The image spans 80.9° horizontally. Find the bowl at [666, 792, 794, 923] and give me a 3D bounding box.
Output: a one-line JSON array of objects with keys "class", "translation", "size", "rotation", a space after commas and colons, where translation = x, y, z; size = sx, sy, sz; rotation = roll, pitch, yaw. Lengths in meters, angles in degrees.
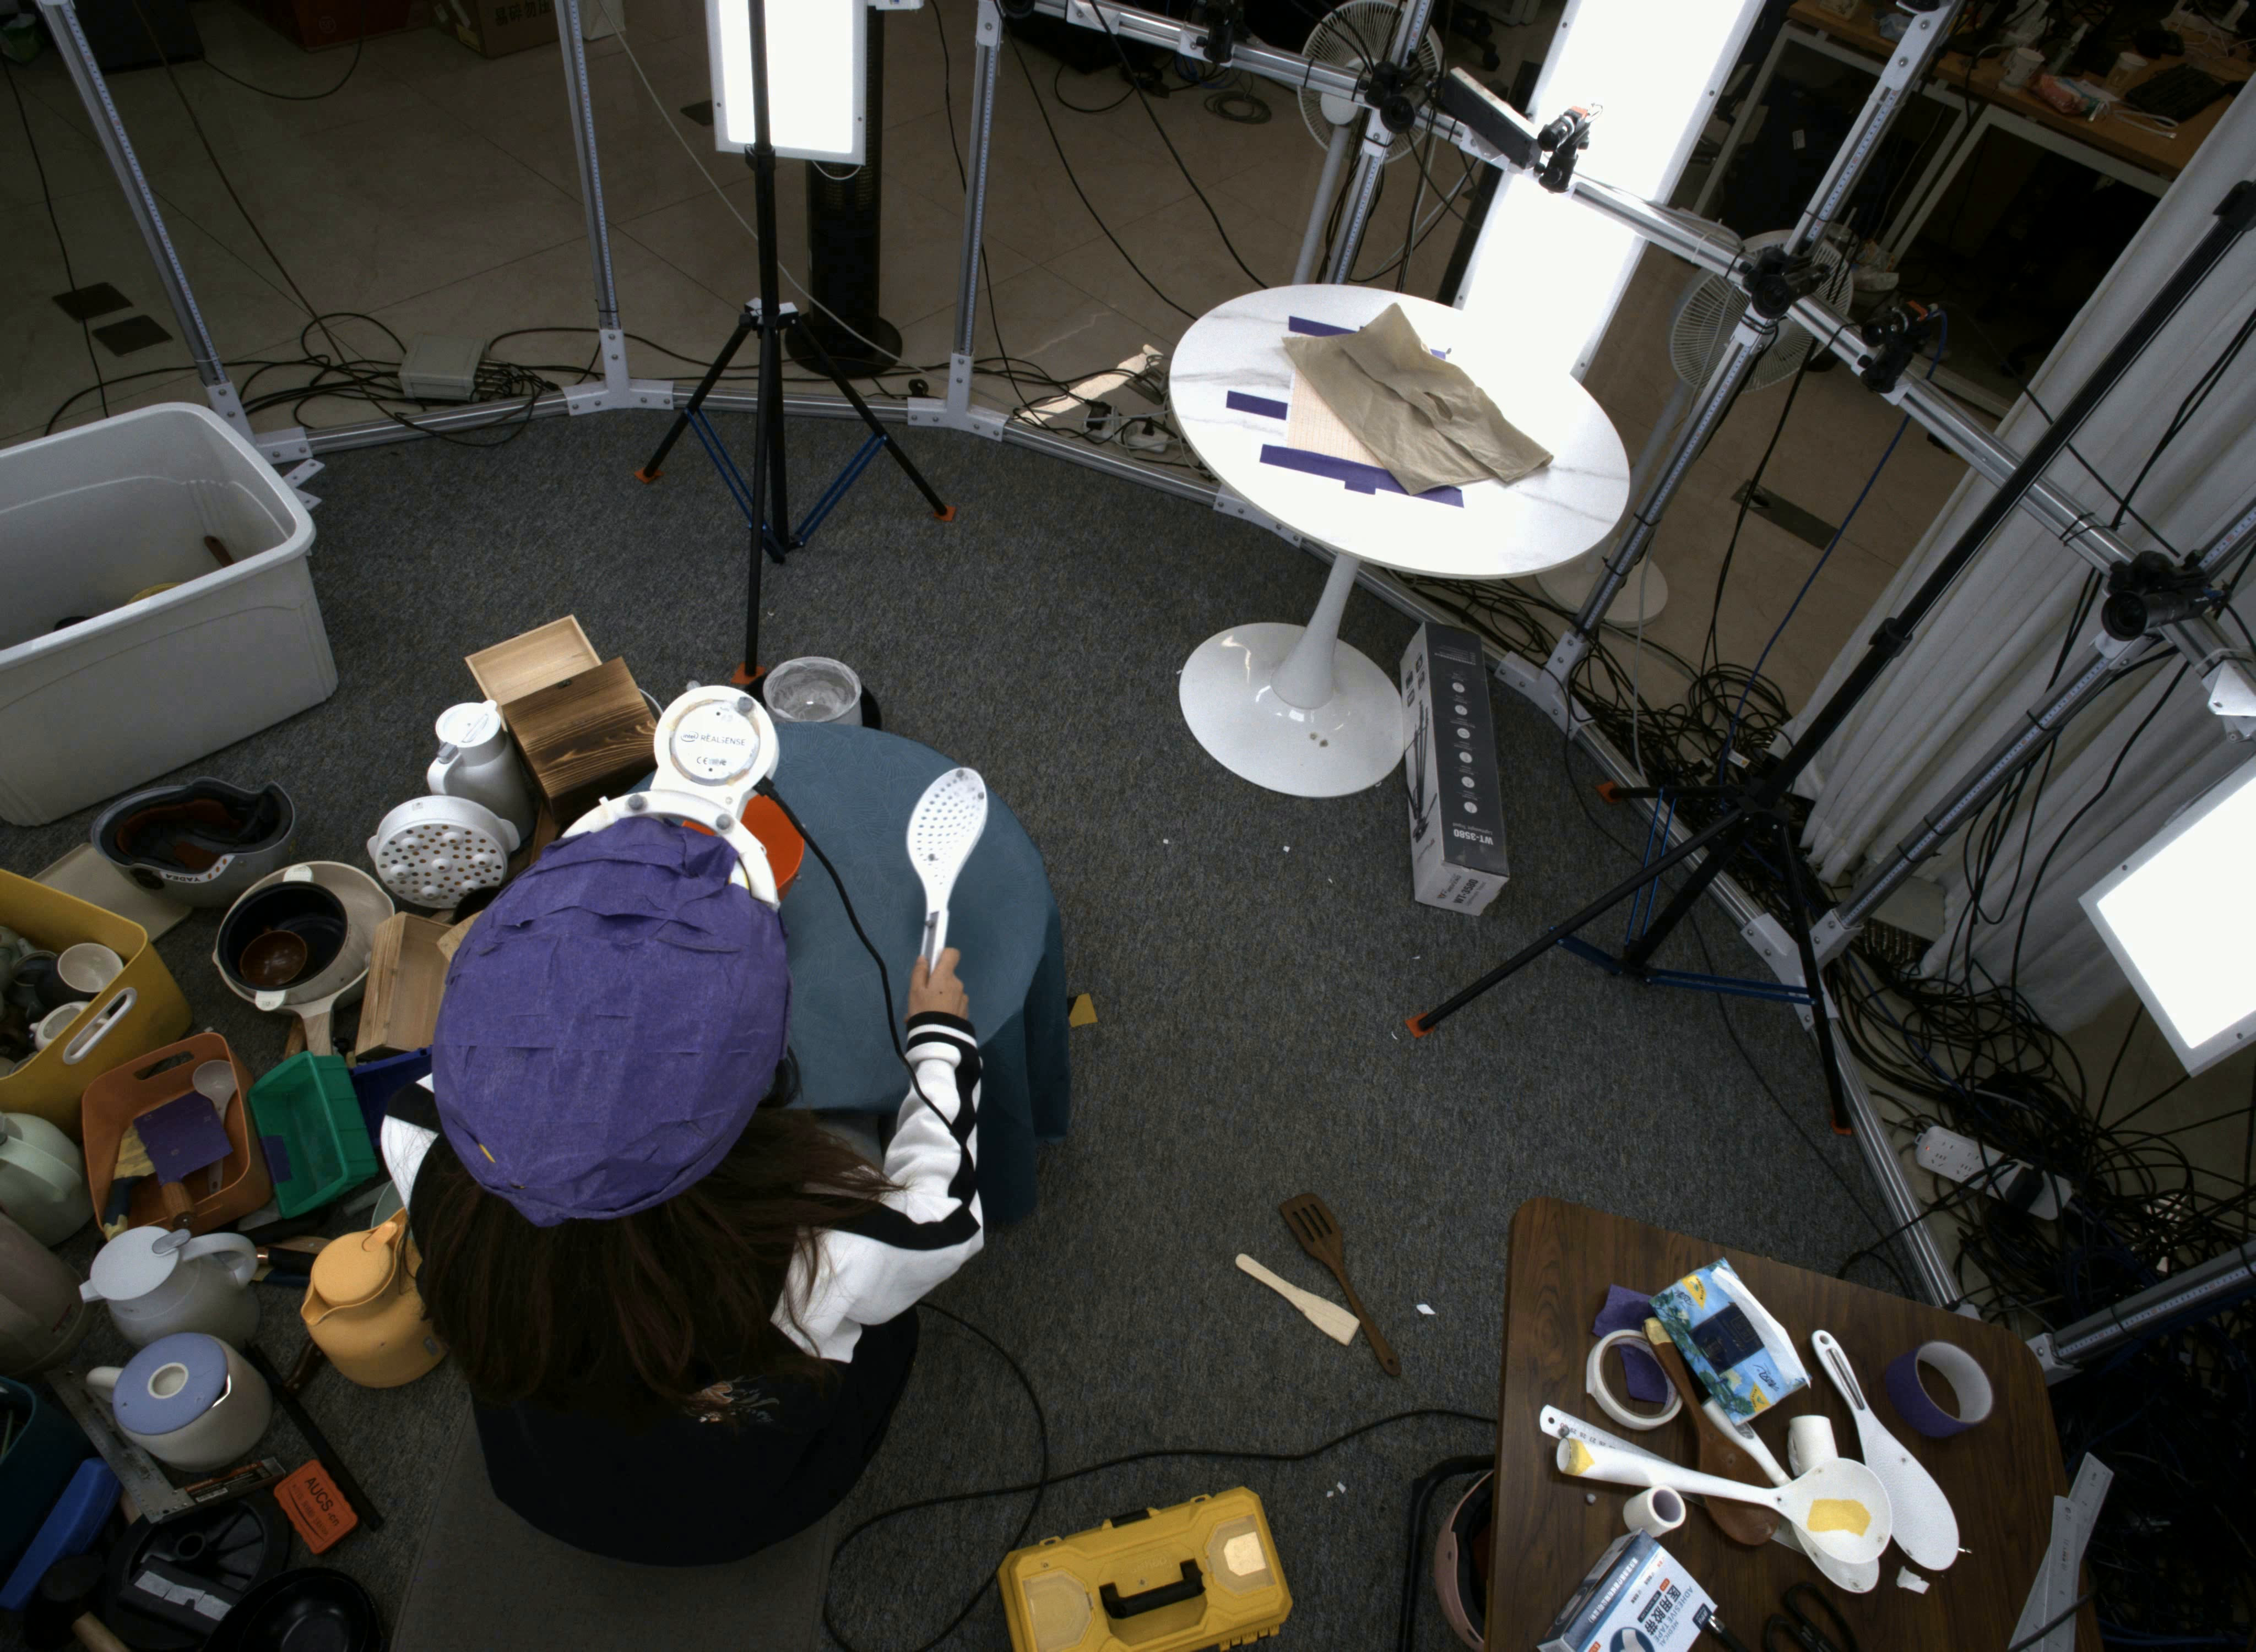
[{"class": "bowl", "translation": [-0.476, 0.048, 1.563], "size": [0.147, 0.107, 0.145], "rotation": [6, 52, -6]}]

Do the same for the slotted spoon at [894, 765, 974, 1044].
[{"class": "slotted spoon", "translation": [-0.241, 0.088, 1.550], "size": [0.047, 0.133, 0.345], "rotation": [36, 49, -42]}]
